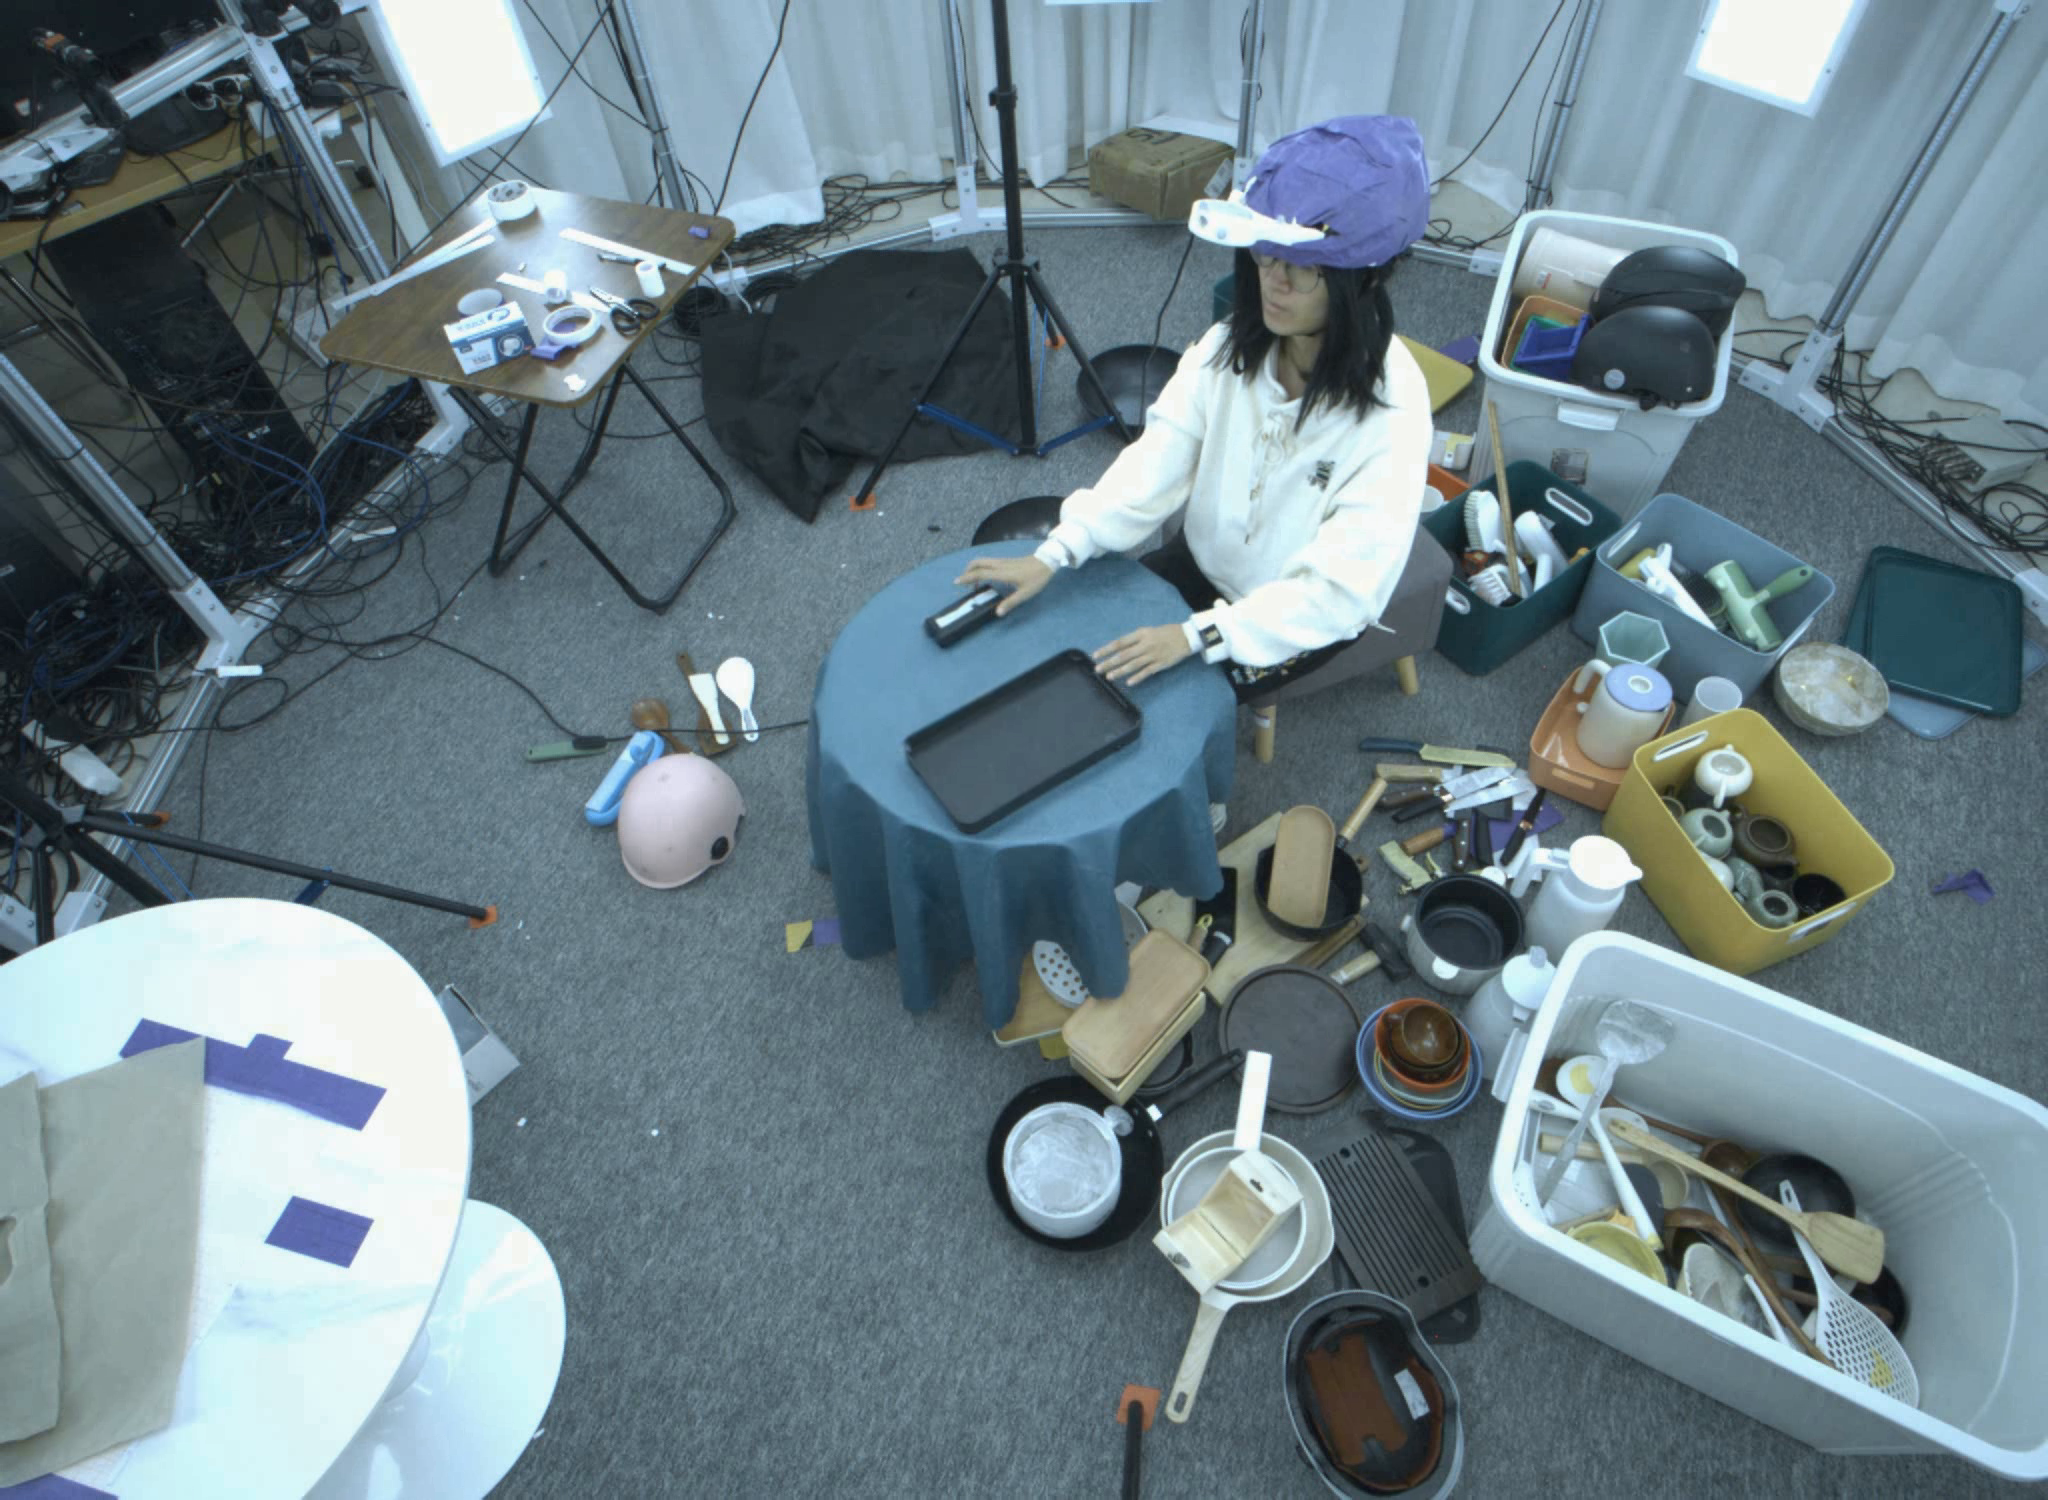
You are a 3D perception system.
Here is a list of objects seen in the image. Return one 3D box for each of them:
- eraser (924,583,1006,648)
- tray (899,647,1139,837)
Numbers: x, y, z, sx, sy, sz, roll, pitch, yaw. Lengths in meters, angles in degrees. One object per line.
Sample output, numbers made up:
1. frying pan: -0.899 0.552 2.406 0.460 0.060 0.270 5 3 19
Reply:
1. eraser: -0.092 -0.211 1.923 0.126 0.031 0.052 -34 65 -20
2. tray: -0.005 -0.016 1.777 0.320 0.037 0.181 -31 60 -19
